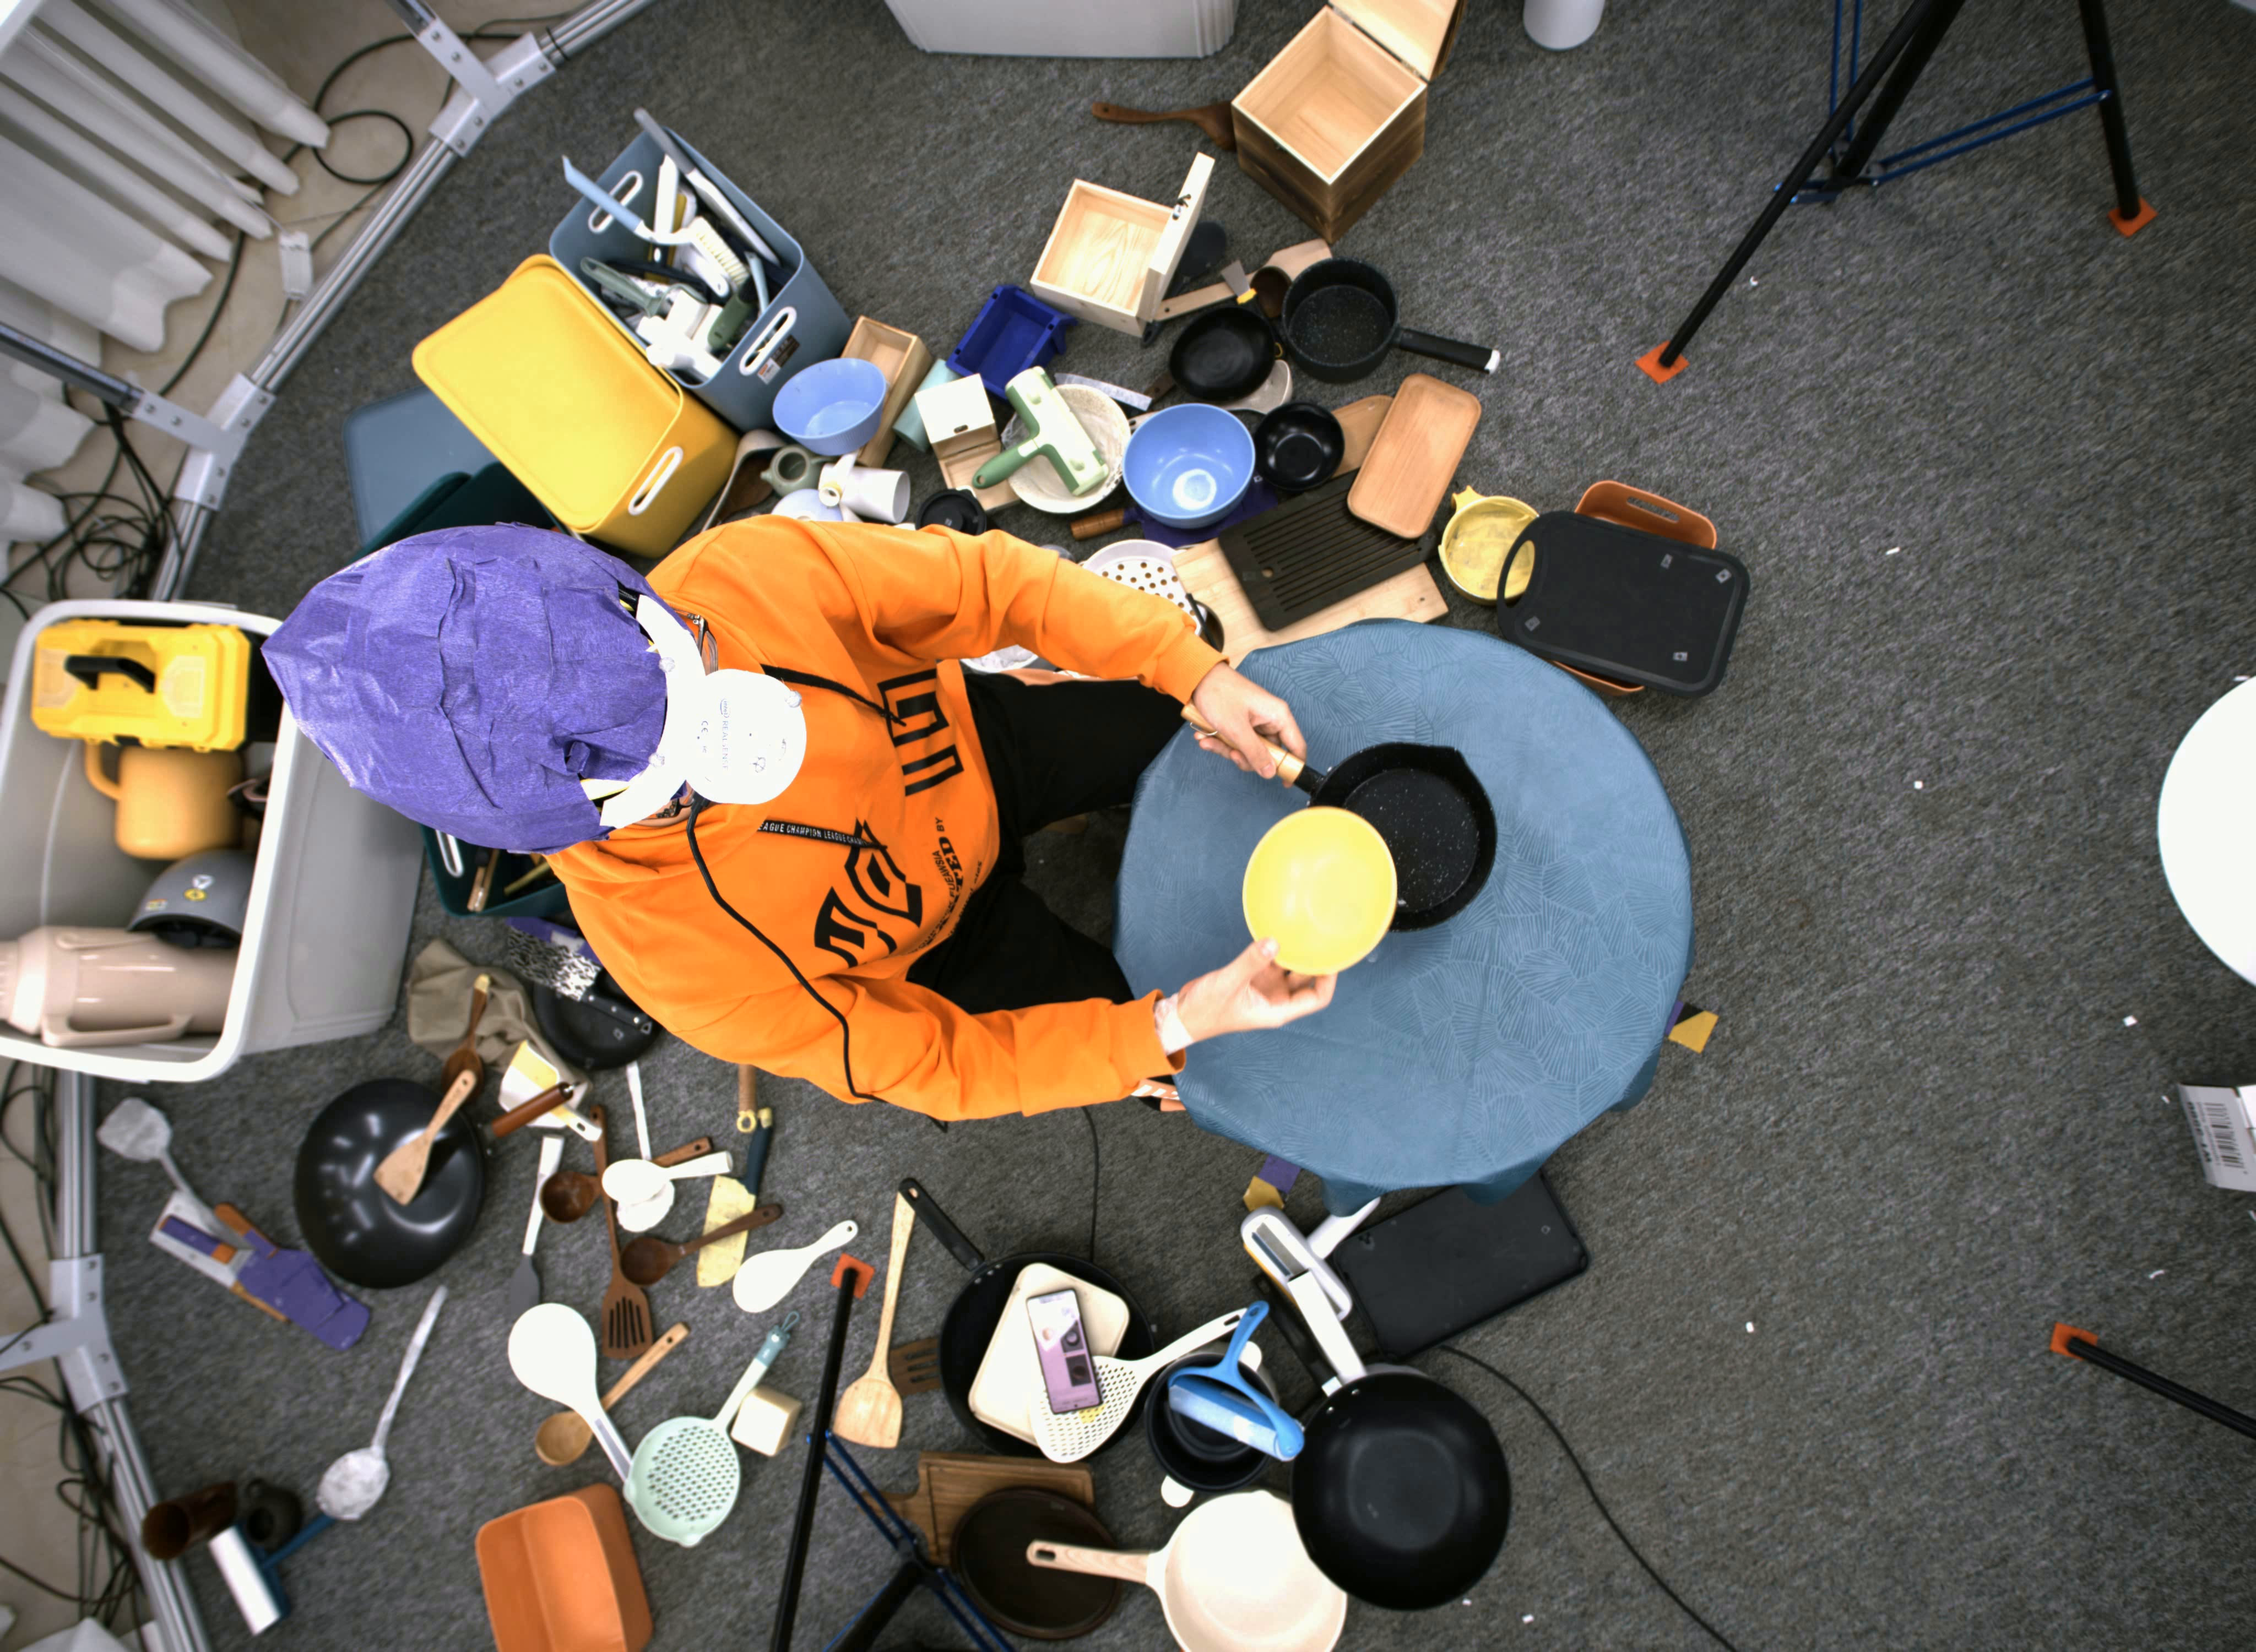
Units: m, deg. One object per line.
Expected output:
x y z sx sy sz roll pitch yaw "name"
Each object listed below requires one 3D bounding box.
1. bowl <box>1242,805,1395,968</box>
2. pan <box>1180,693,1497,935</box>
0.178 0.057 1.227 0.147 0.060 0.143 -9 75 33 "bowl"
0.202 -0.029 1.371 0.342 0.107 0.209 32 99 12 "pan"
